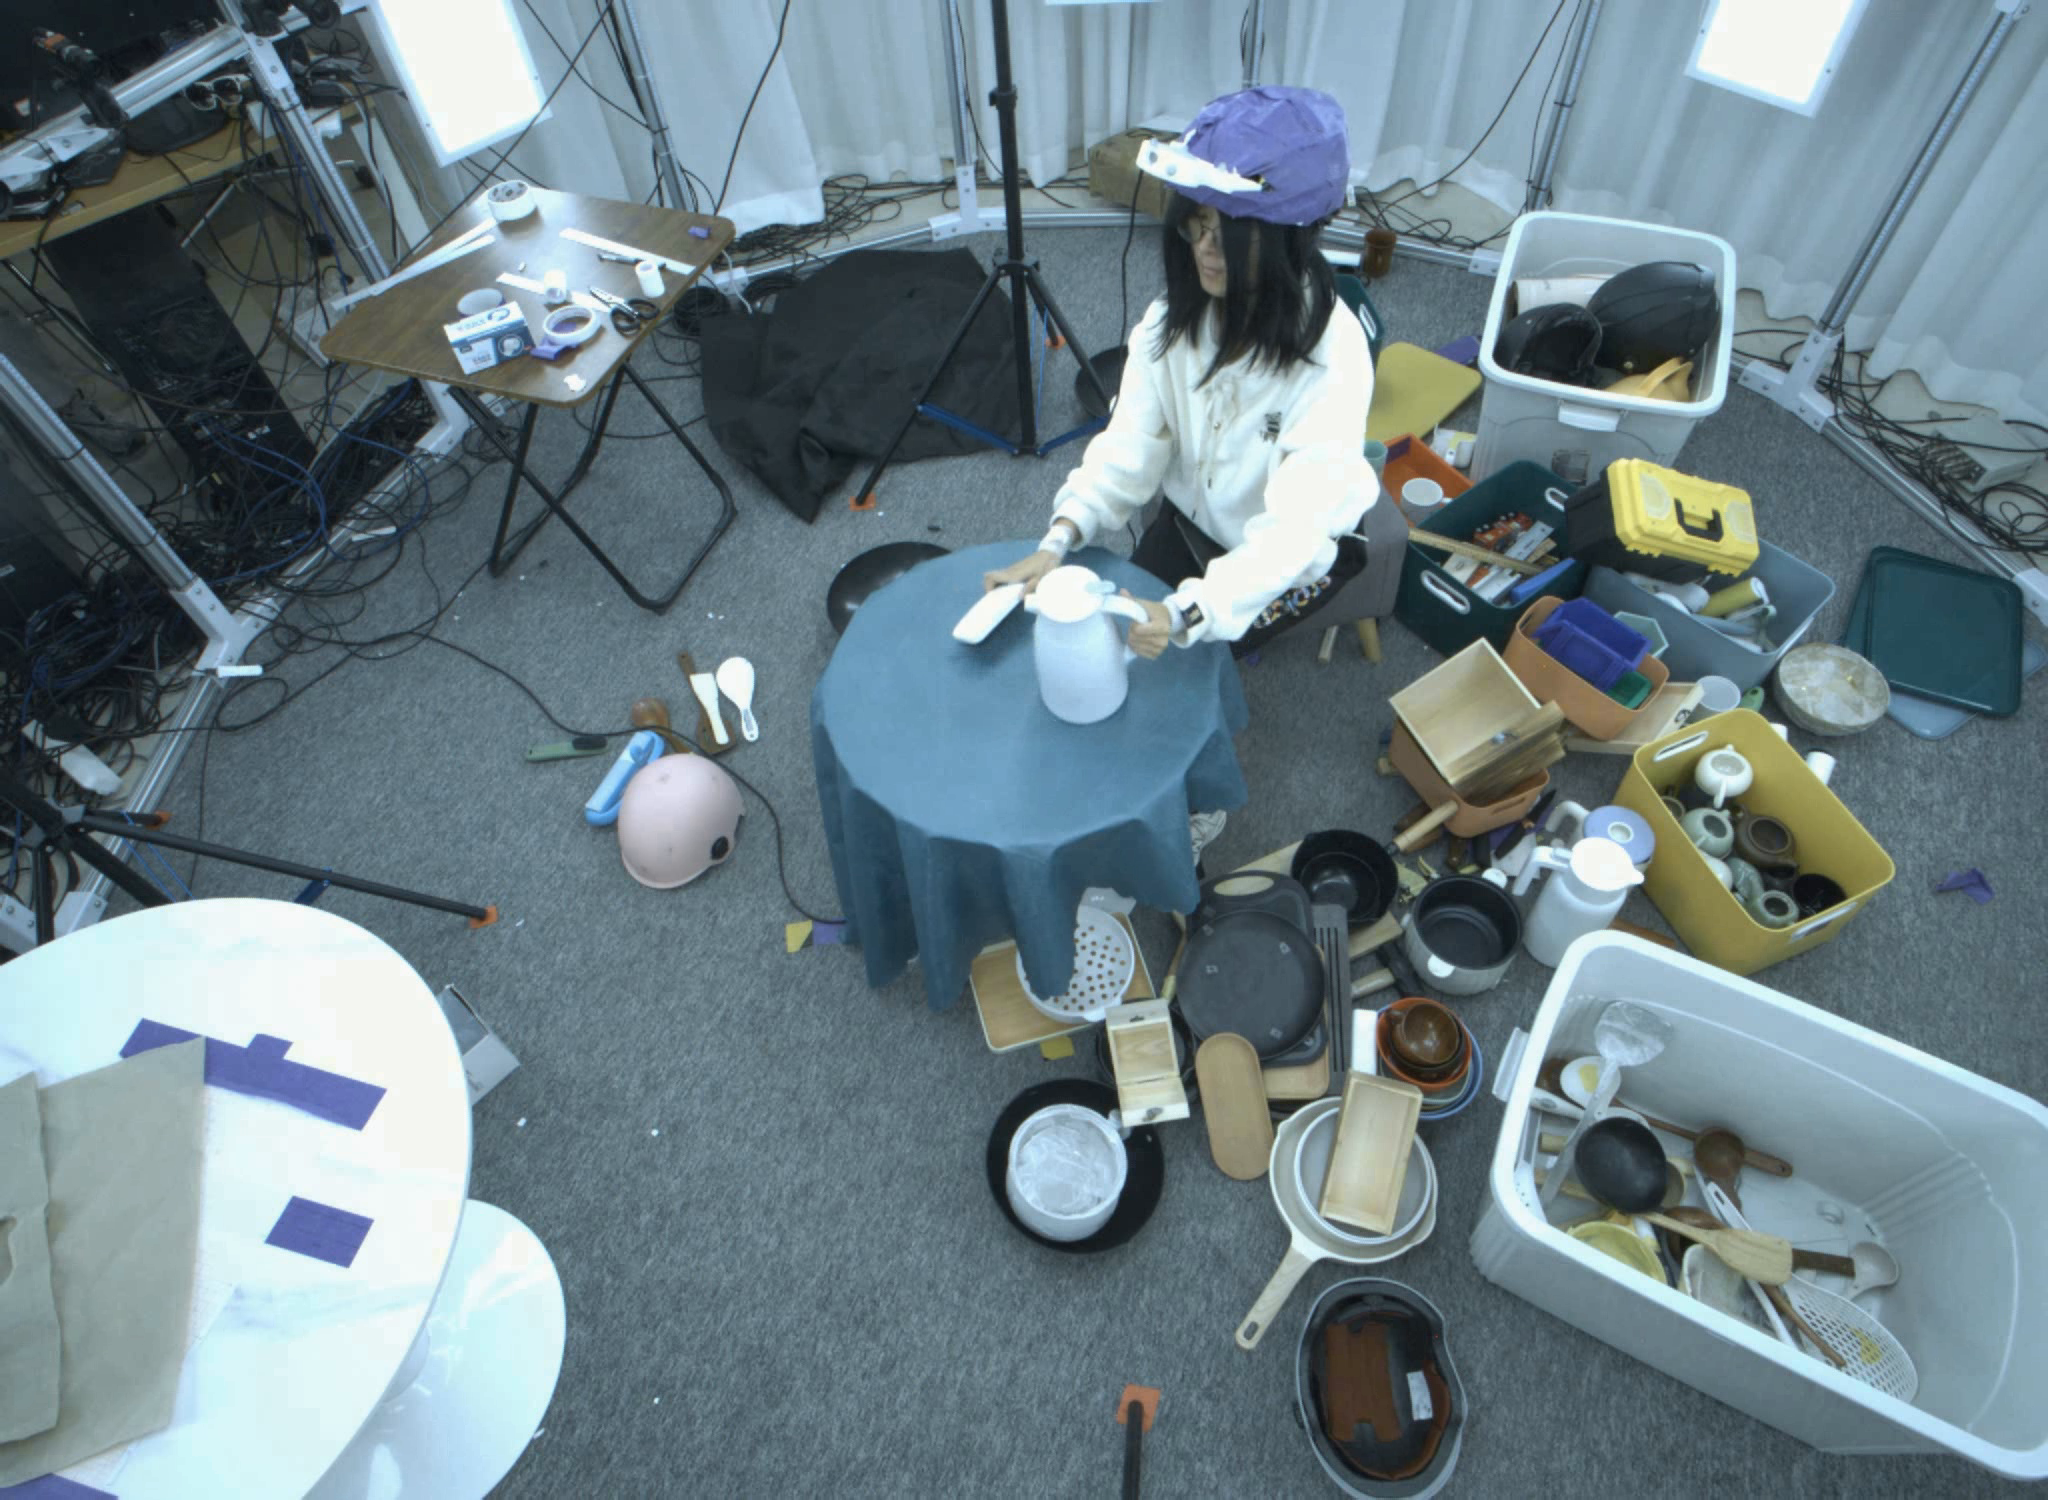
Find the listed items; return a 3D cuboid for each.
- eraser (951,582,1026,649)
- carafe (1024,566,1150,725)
[{"bbox_3d":[-0.054,-0.210,1.887,0.062,0.035,0.132,15,55,46],"label":"eraser"},{"bbox_3d":[0.093,-0.154,1.730,0.167,0.251,0.131,-2,61,6],"label":"carafe"}]
